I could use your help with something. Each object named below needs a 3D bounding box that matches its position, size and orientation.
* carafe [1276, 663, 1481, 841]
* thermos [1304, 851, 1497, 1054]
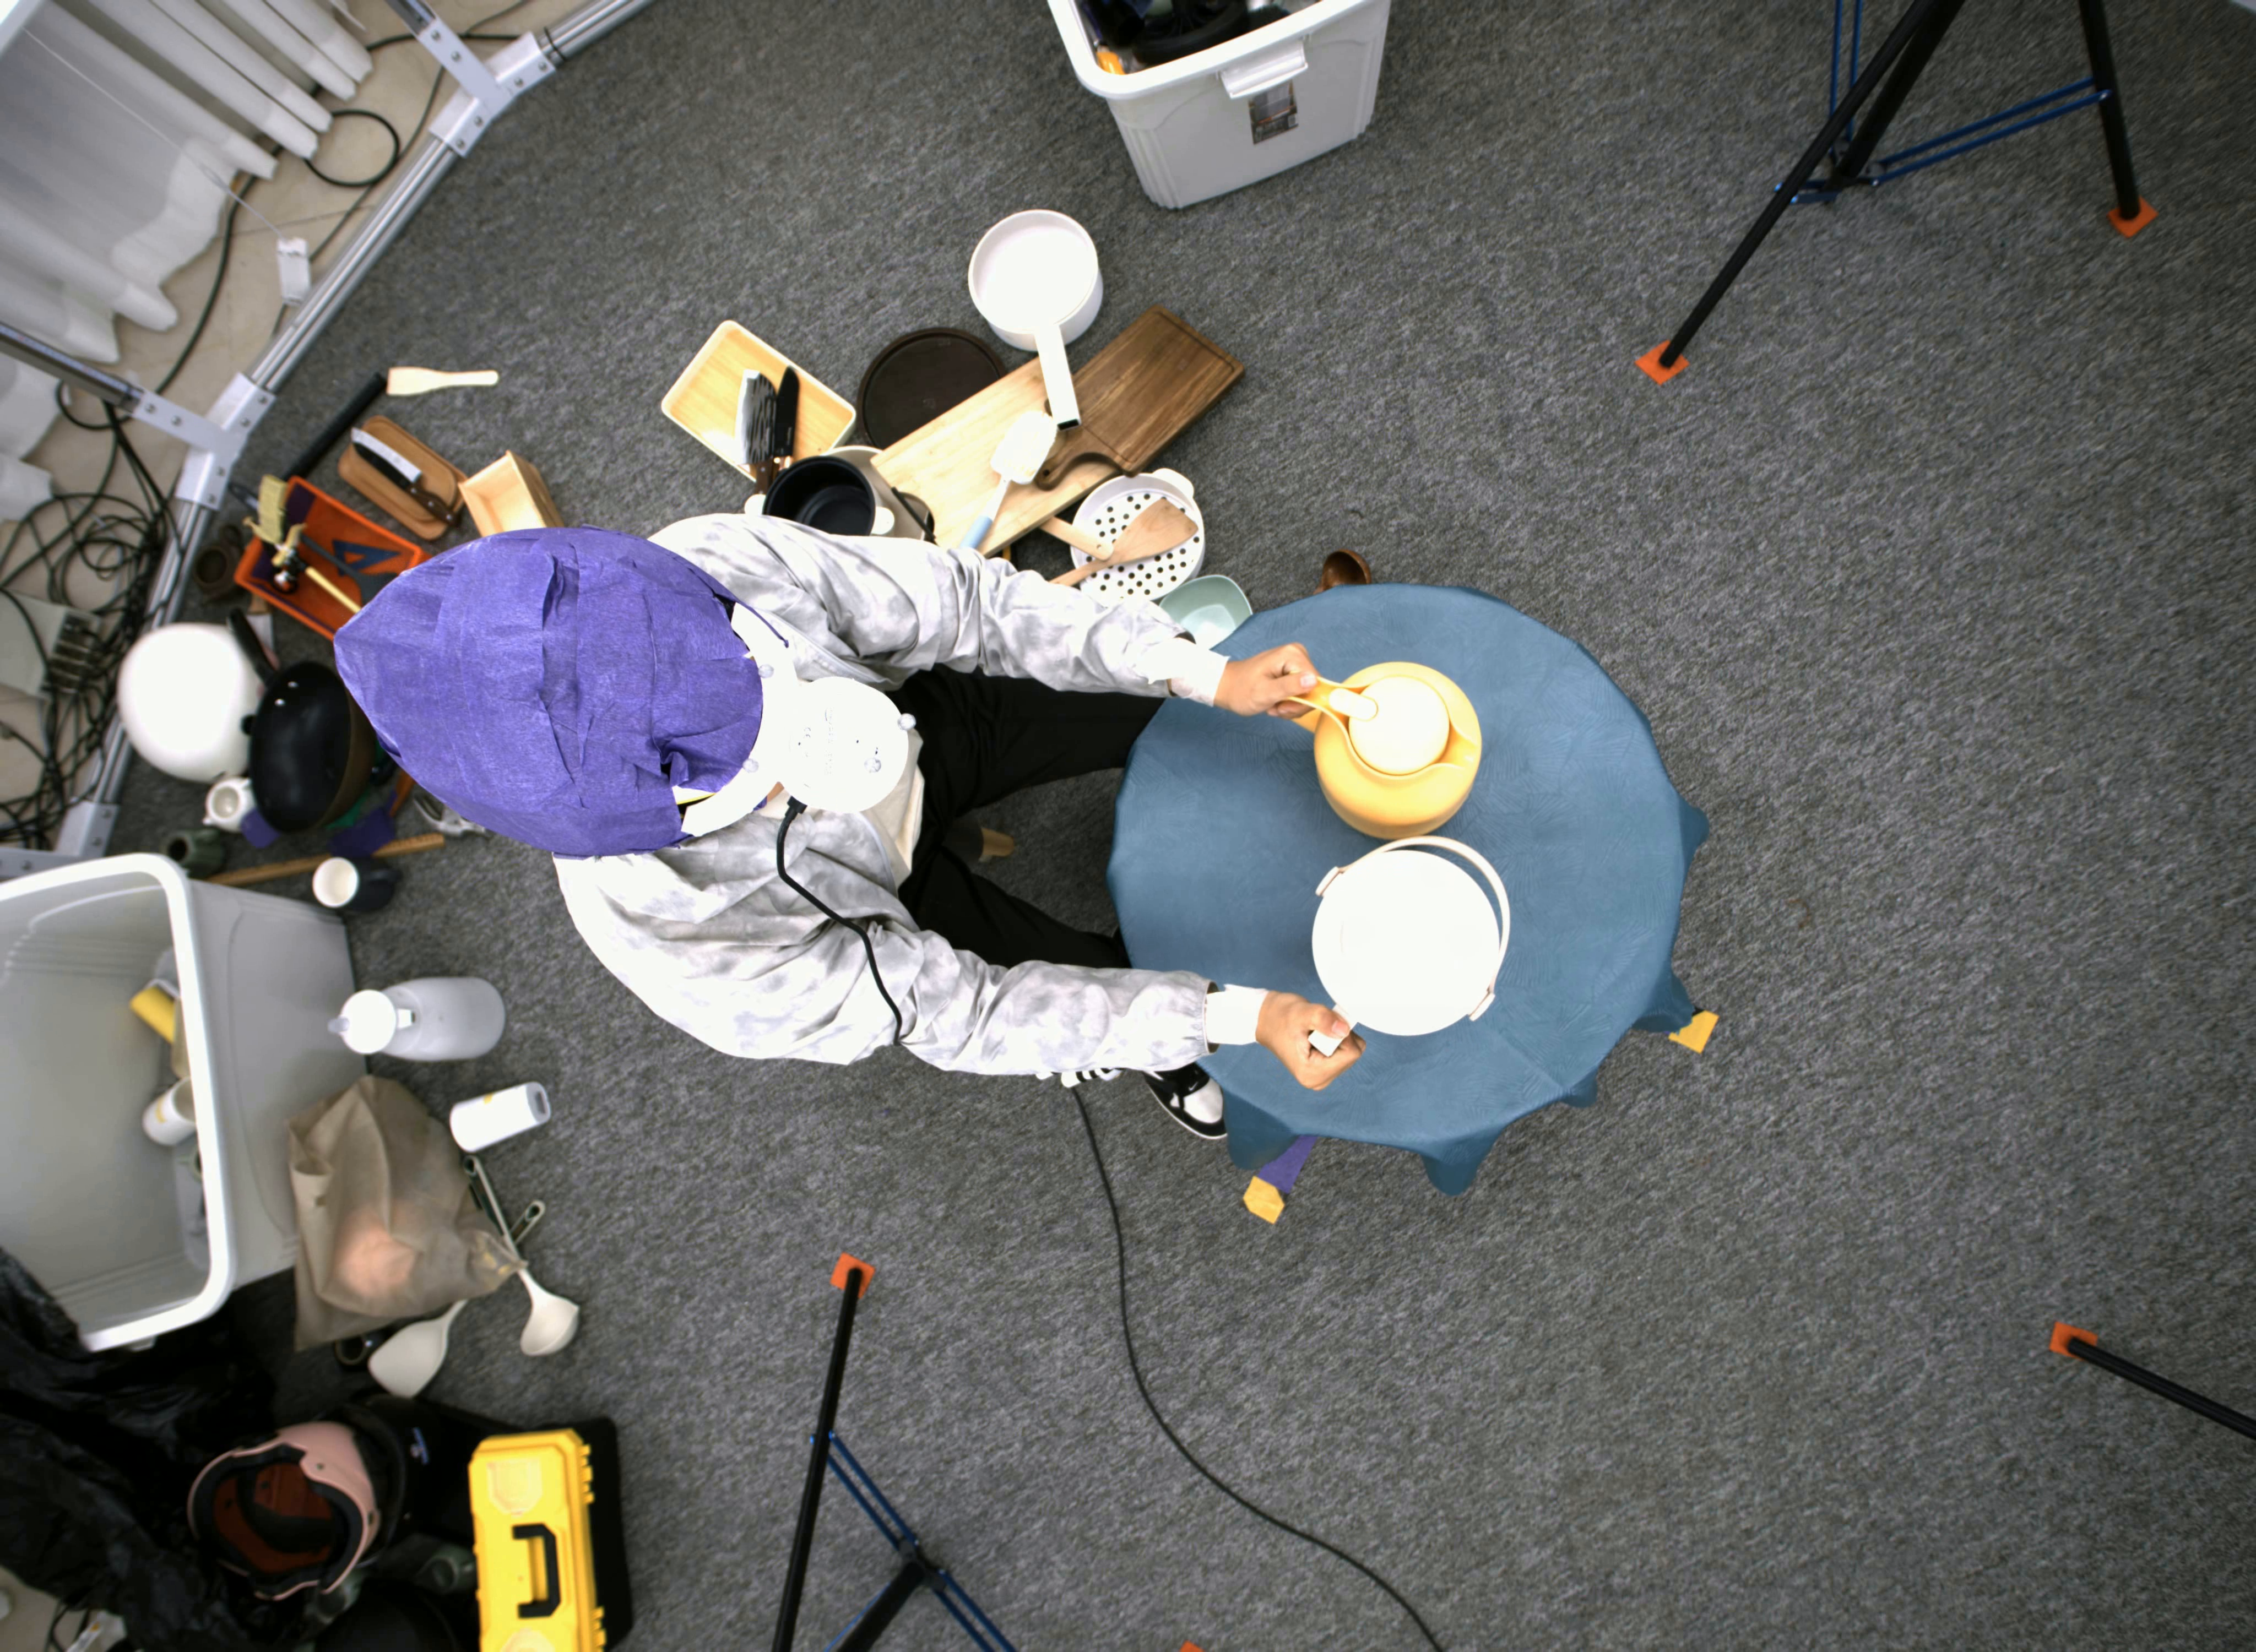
[{"bbox_3d":[0.243,-0.087,1.339,0.202,0.261,0.163,26,87,10],"label":"carafe"},{"bbox_3d":[0.238,0.119,1.259,0.174,0.407,0.207,40,91,11],"label":"thermos"}]
